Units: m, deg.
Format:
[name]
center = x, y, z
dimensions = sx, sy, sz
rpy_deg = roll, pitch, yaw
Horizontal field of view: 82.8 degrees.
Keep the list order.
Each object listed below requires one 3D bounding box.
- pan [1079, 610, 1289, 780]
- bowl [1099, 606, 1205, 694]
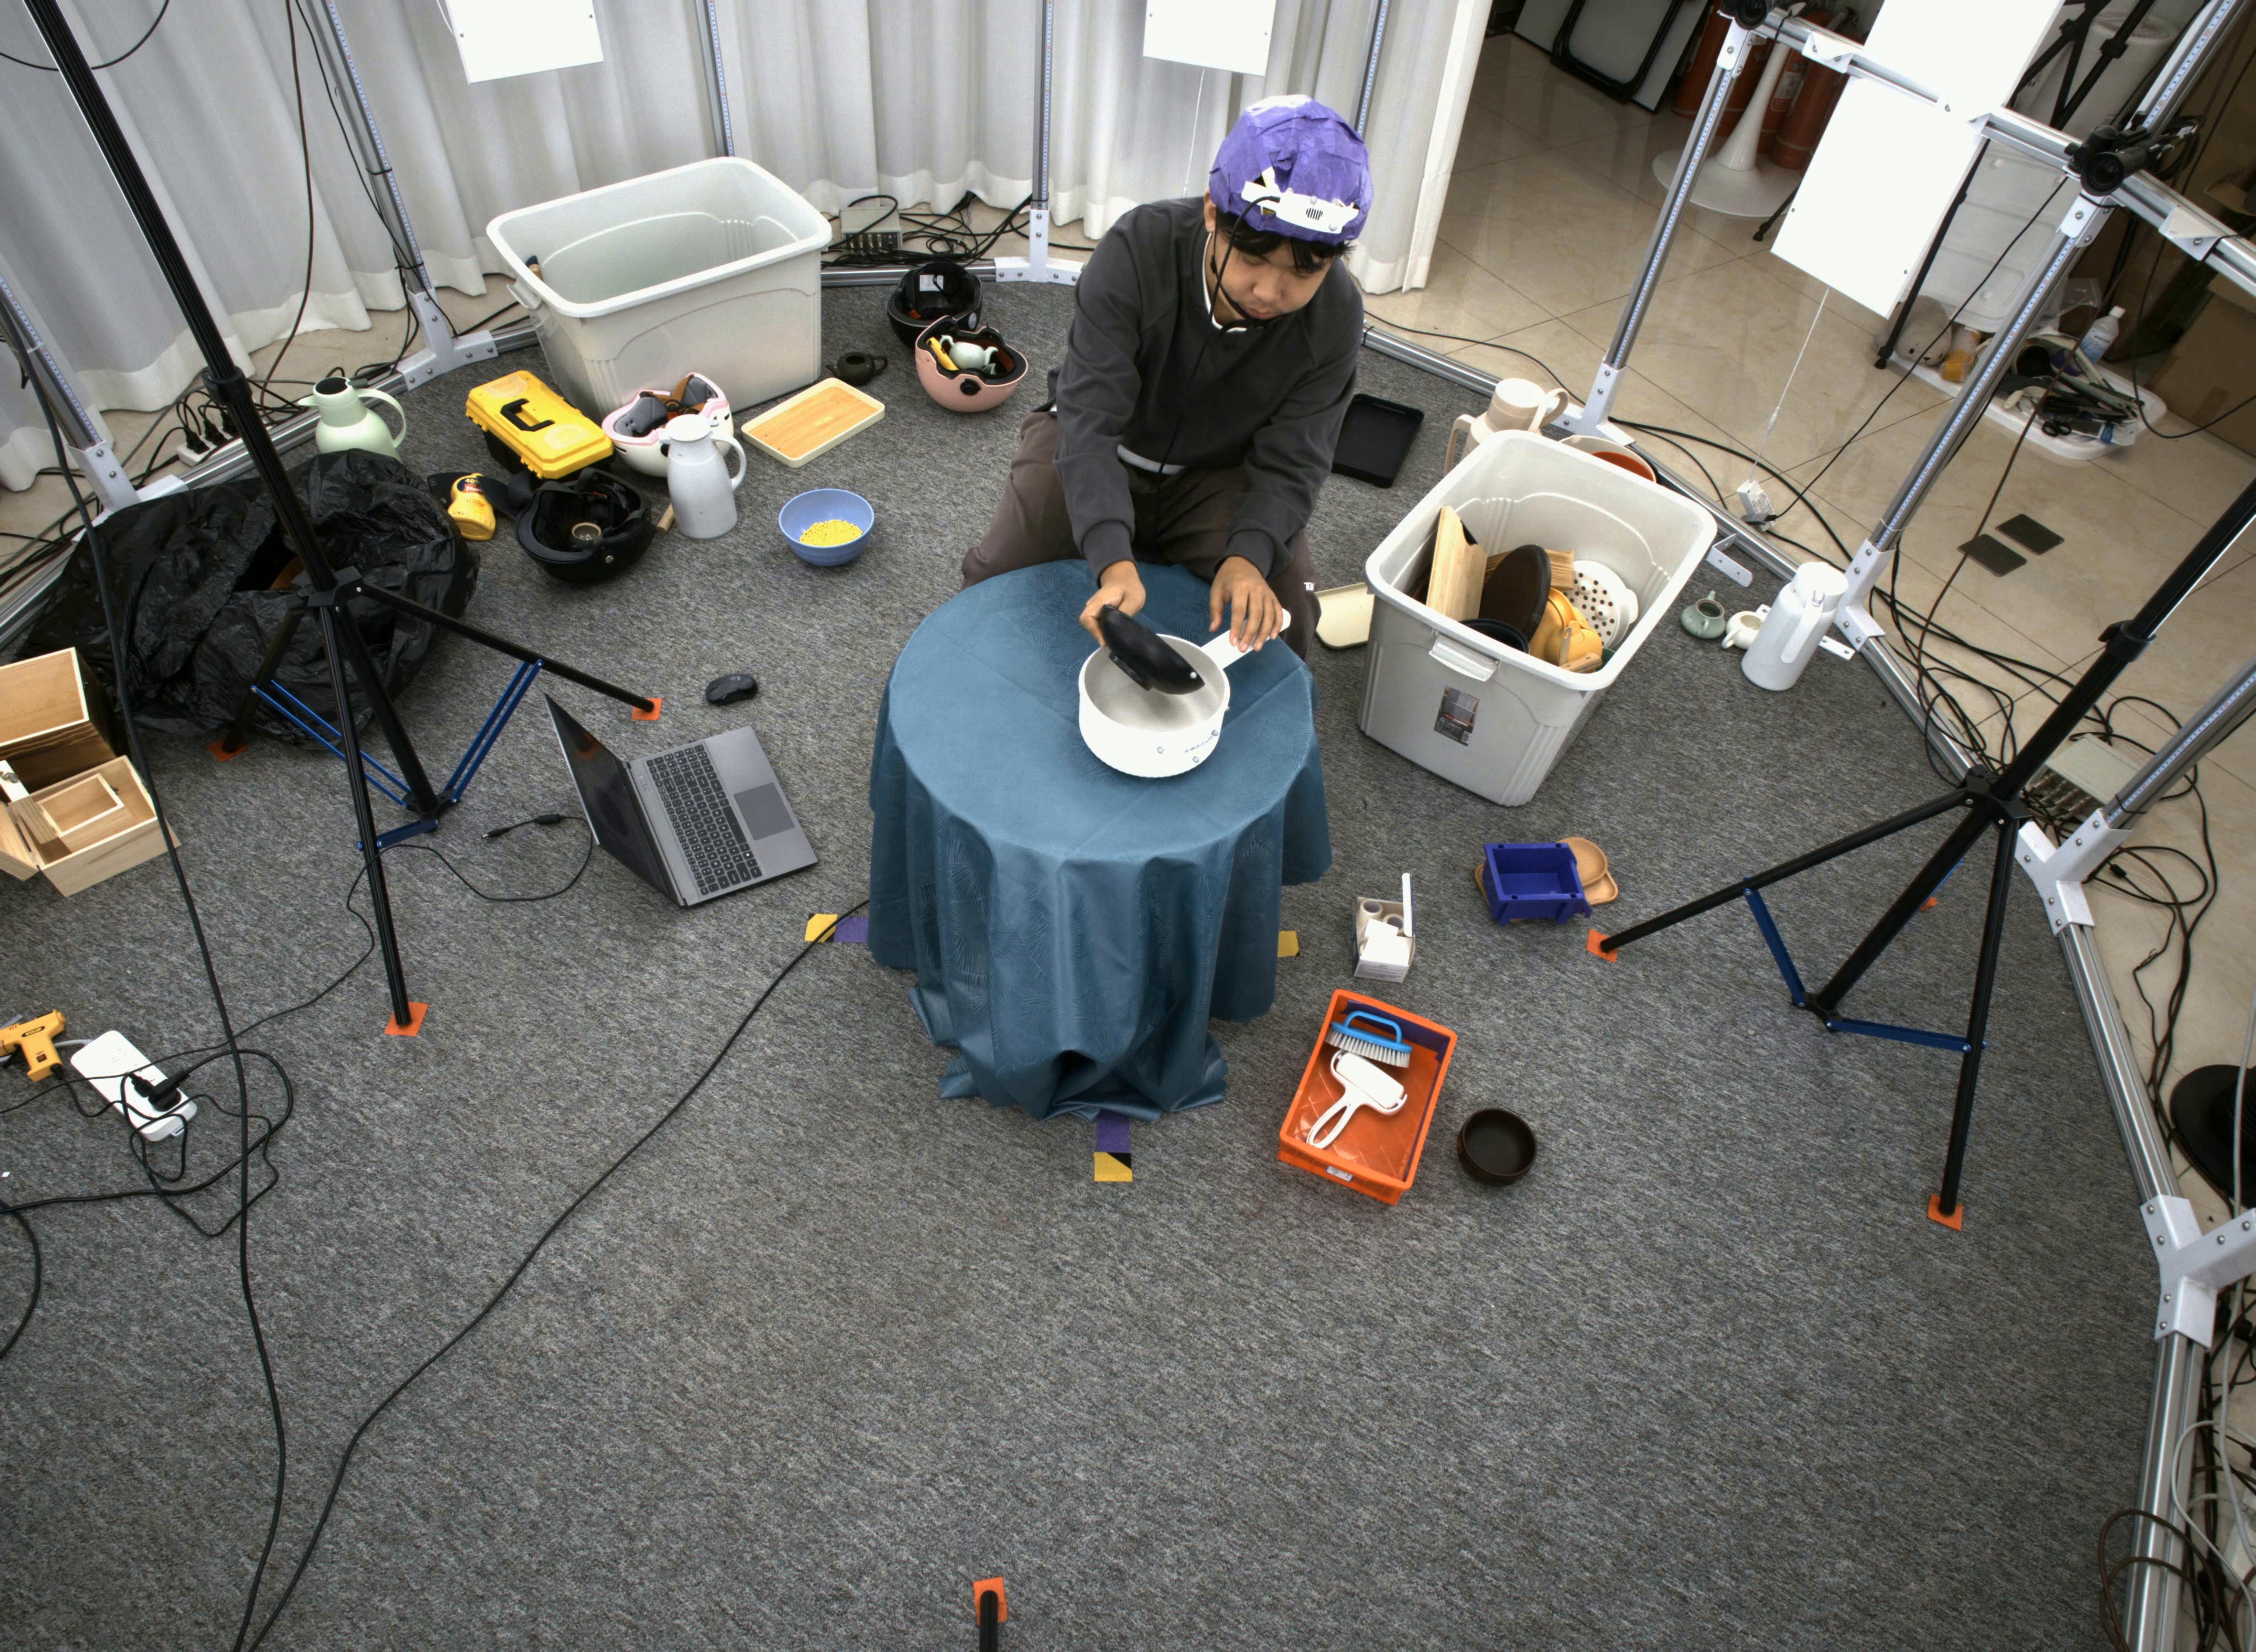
[pan]
center = 0.087, -0.190, 1.784
dimensions = 0.358, 0.099, 0.204
rpy_deg = -33, 55, -31
[bowl]
center = 0.021, -0.223, 1.690
dimensions = 0.169, 0.066, 0.138
rpy_deg = 39, 7, -9
